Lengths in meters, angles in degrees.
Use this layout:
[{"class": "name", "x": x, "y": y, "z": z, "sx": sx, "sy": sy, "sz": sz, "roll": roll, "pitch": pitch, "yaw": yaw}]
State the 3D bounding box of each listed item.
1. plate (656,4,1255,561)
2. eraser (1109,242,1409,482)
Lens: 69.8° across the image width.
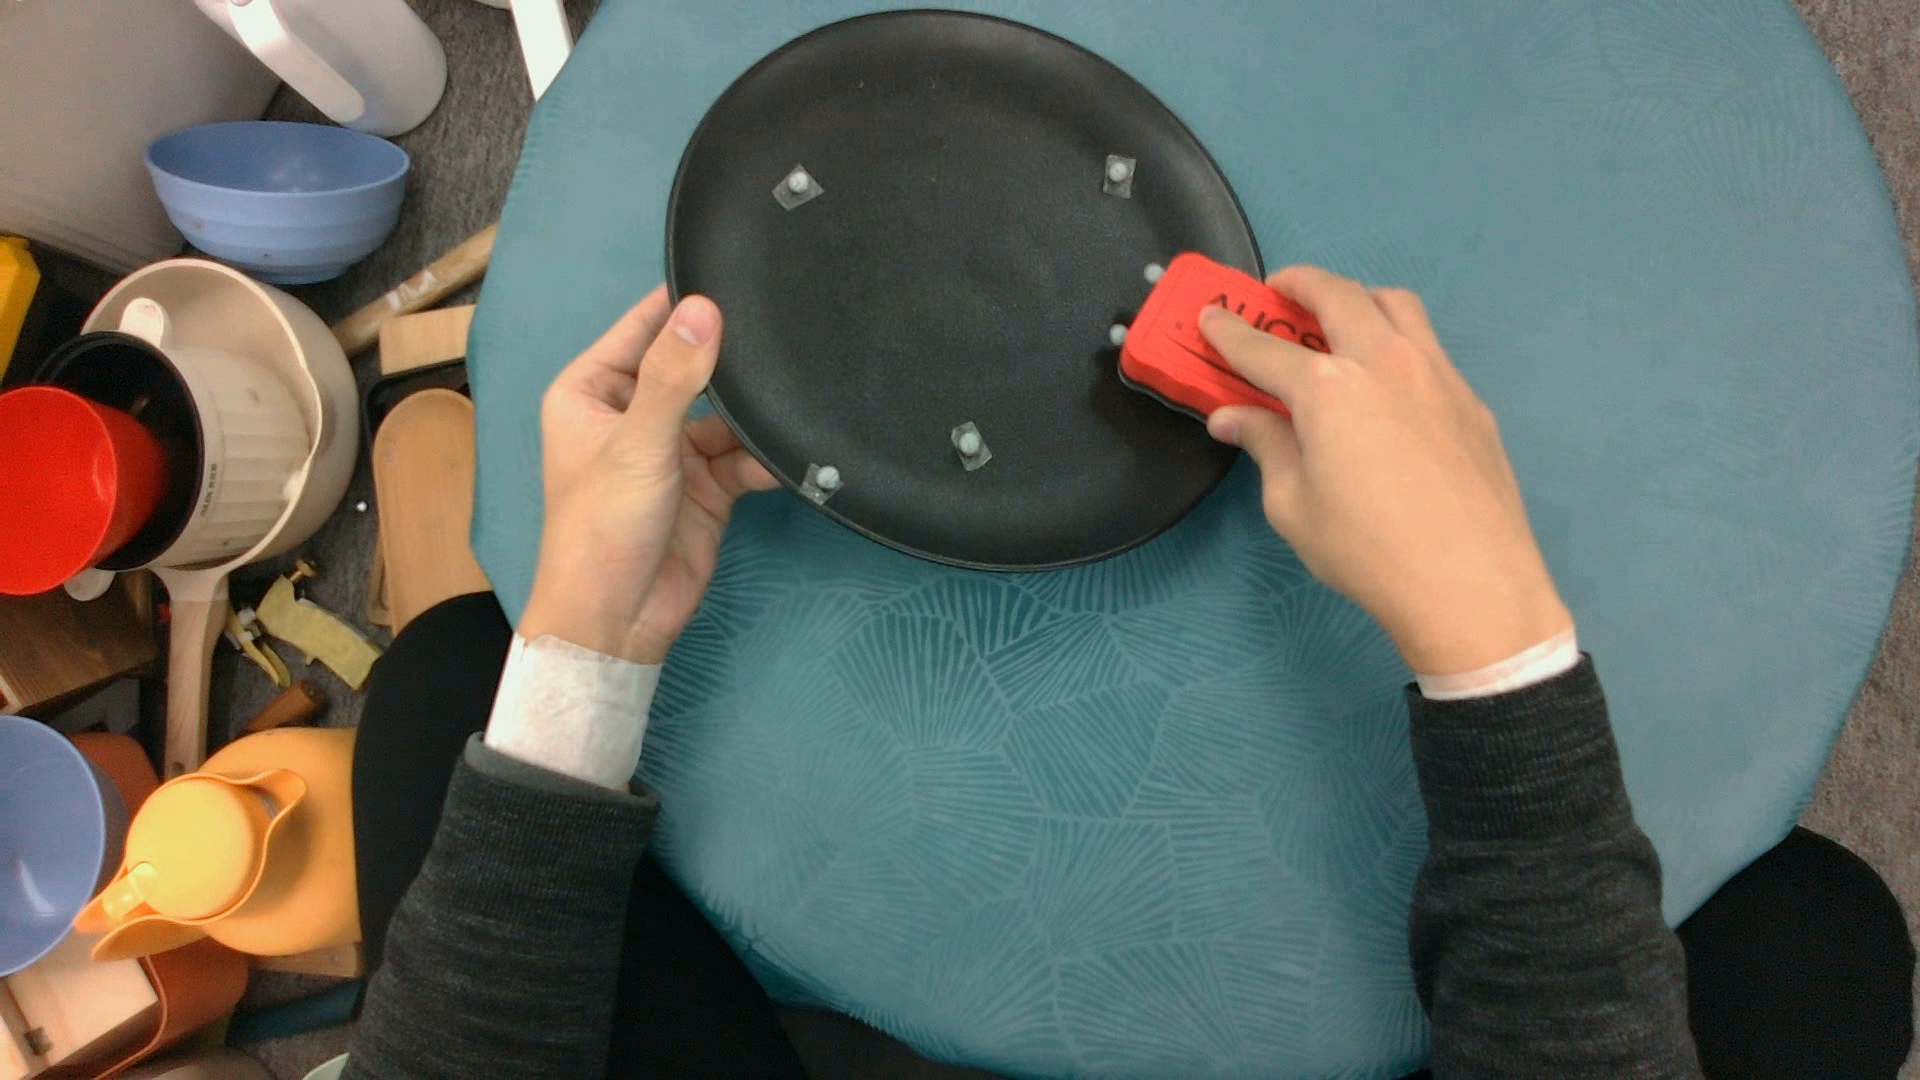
[{"class": "plate", "x": 0.003, "y": -0.104, "z": 0.544, "sx": 0.244, "sy": 0.023, "sz": 0.245, "roll": 5, "pitch": 69, "yaw": -14}, {"class": "eraser", "x": 0.116, "y": -0.071, "z": 0.542, "sx": 0.108, "sy": 0.023, "sz": 0.059, "roll": 28, "pitch": 70, "yaw": 9}]
